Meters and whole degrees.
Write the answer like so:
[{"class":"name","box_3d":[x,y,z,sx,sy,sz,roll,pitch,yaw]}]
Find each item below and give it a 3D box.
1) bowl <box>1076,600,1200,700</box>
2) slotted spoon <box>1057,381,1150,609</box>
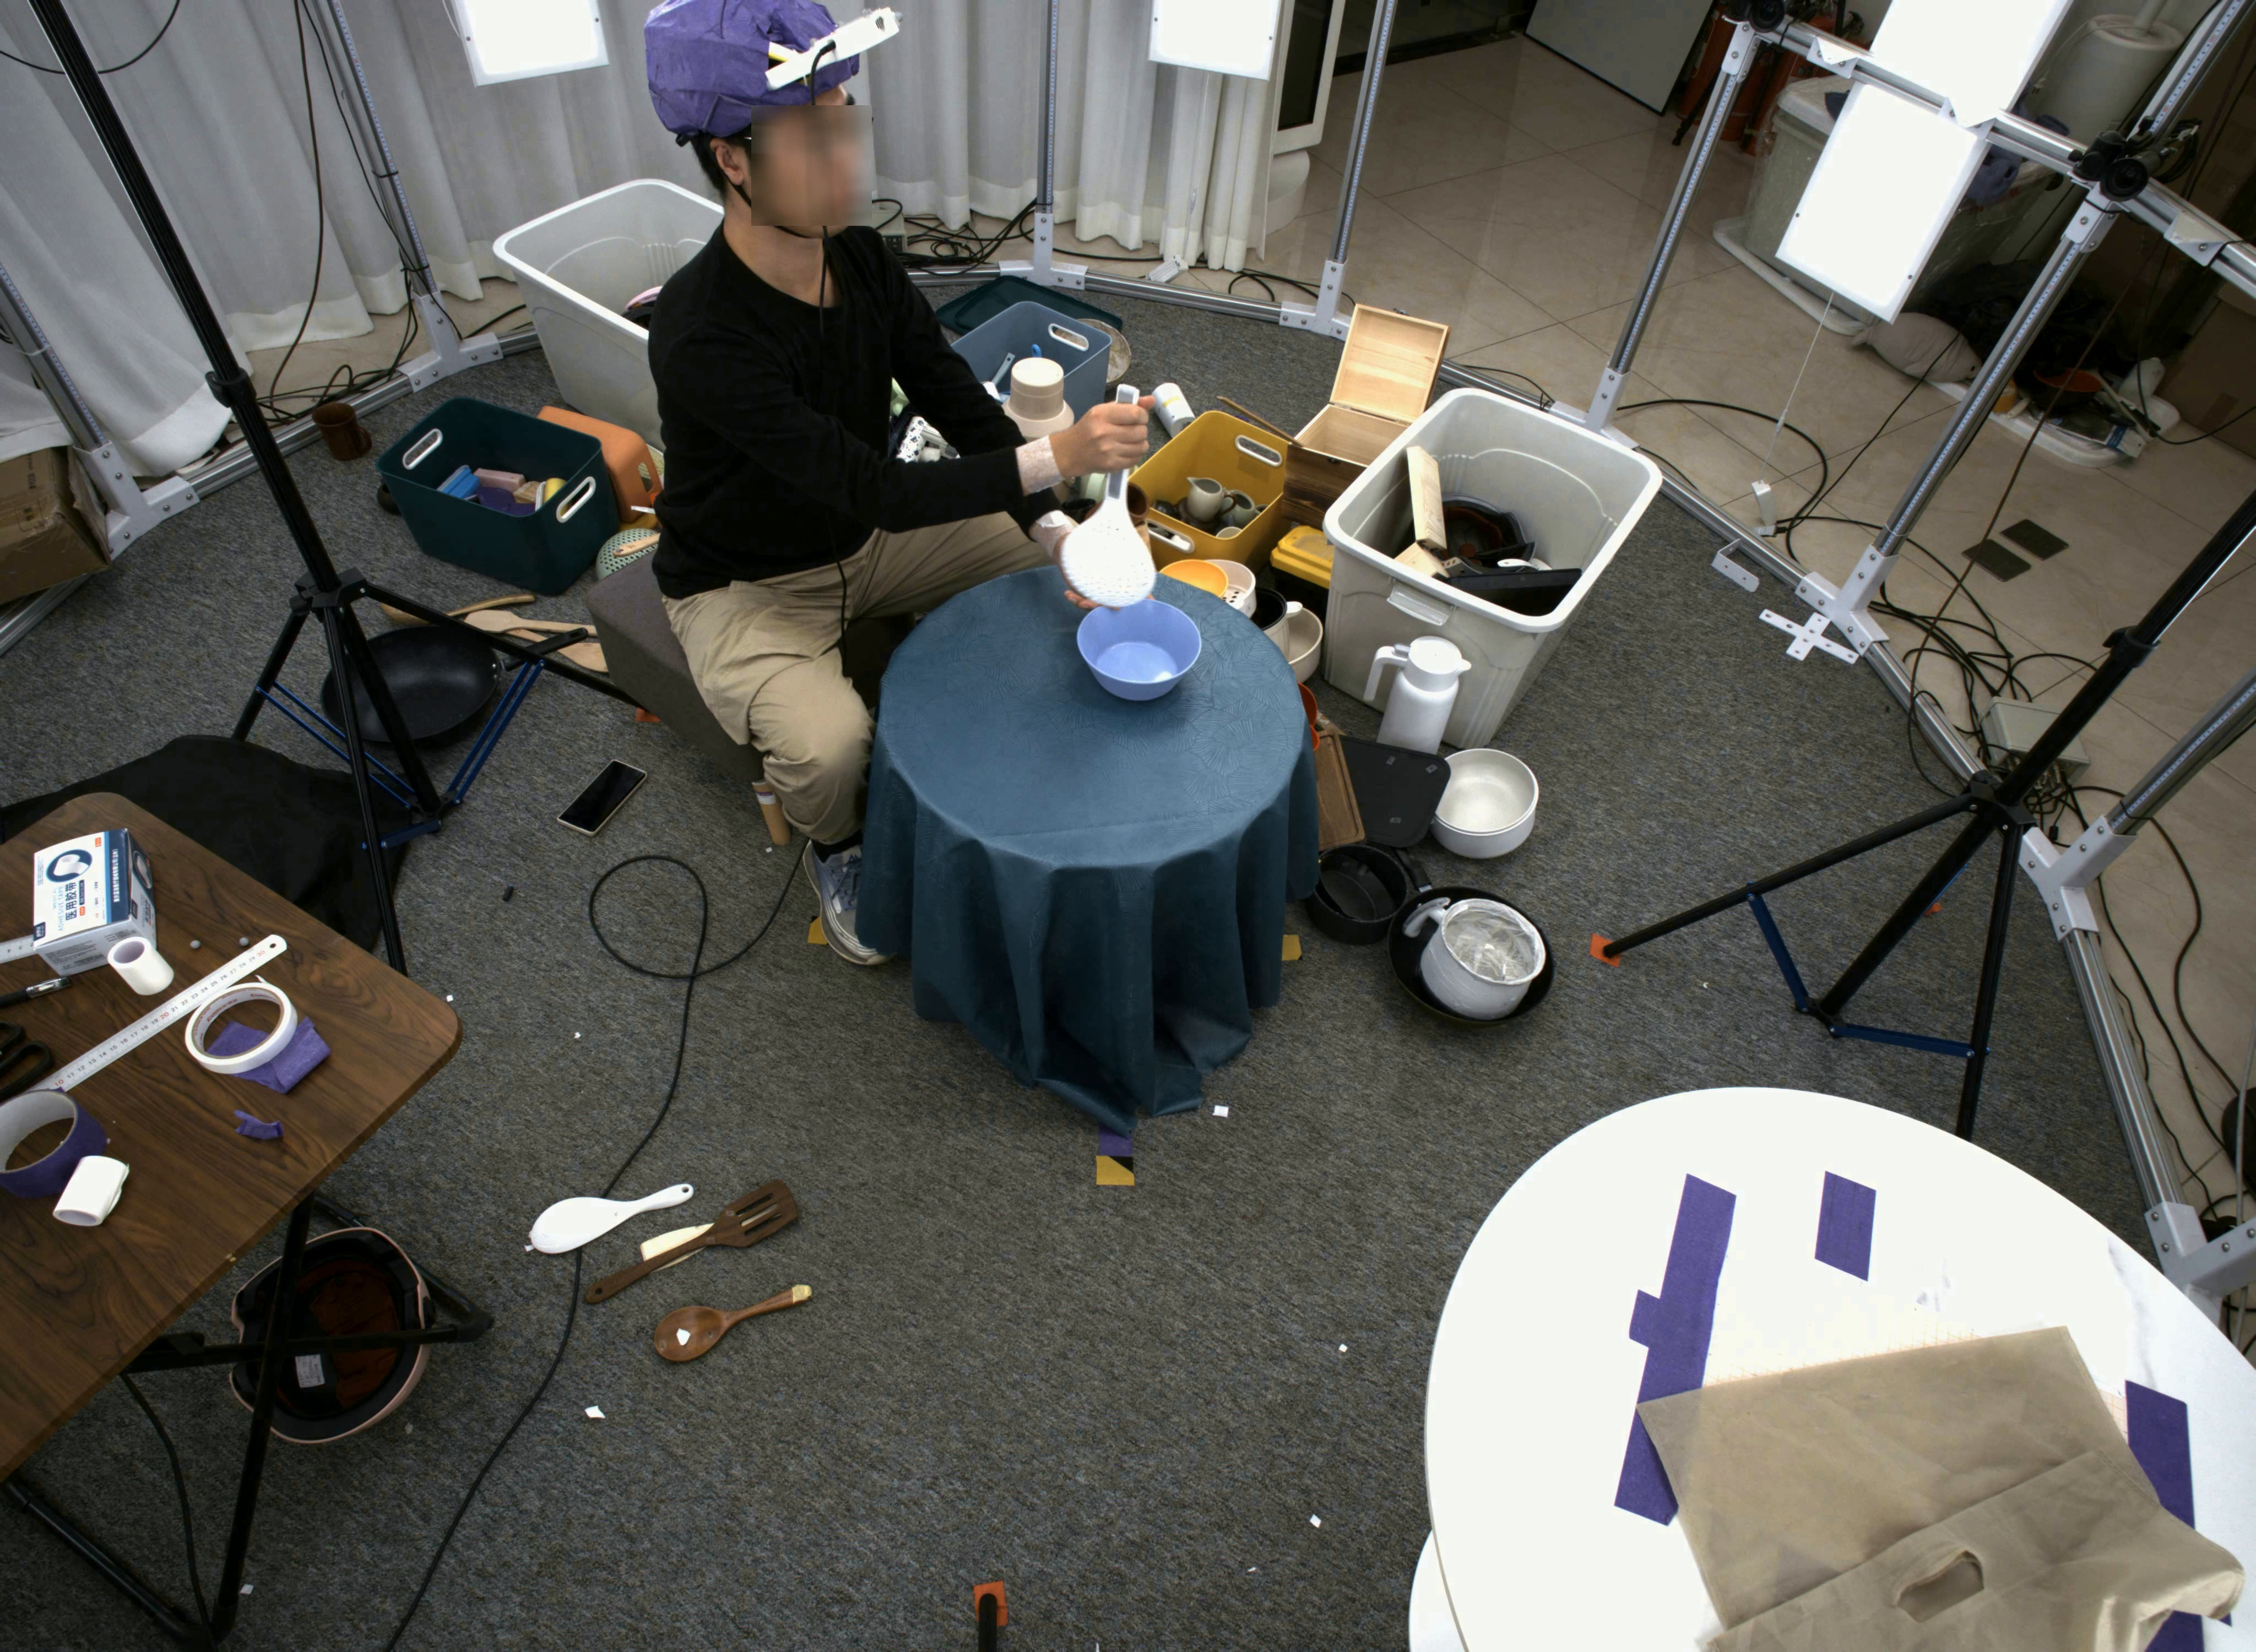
[{"class":"bowl","box_3d":[0.013,-0.244,1.837,0.176,0.068,0.180,1,48,-2]},{"class":"slotted spoon","box_3d":[-0.022,-0.420,1.688,0.136,0.342,0.046,20,44,7]}]
